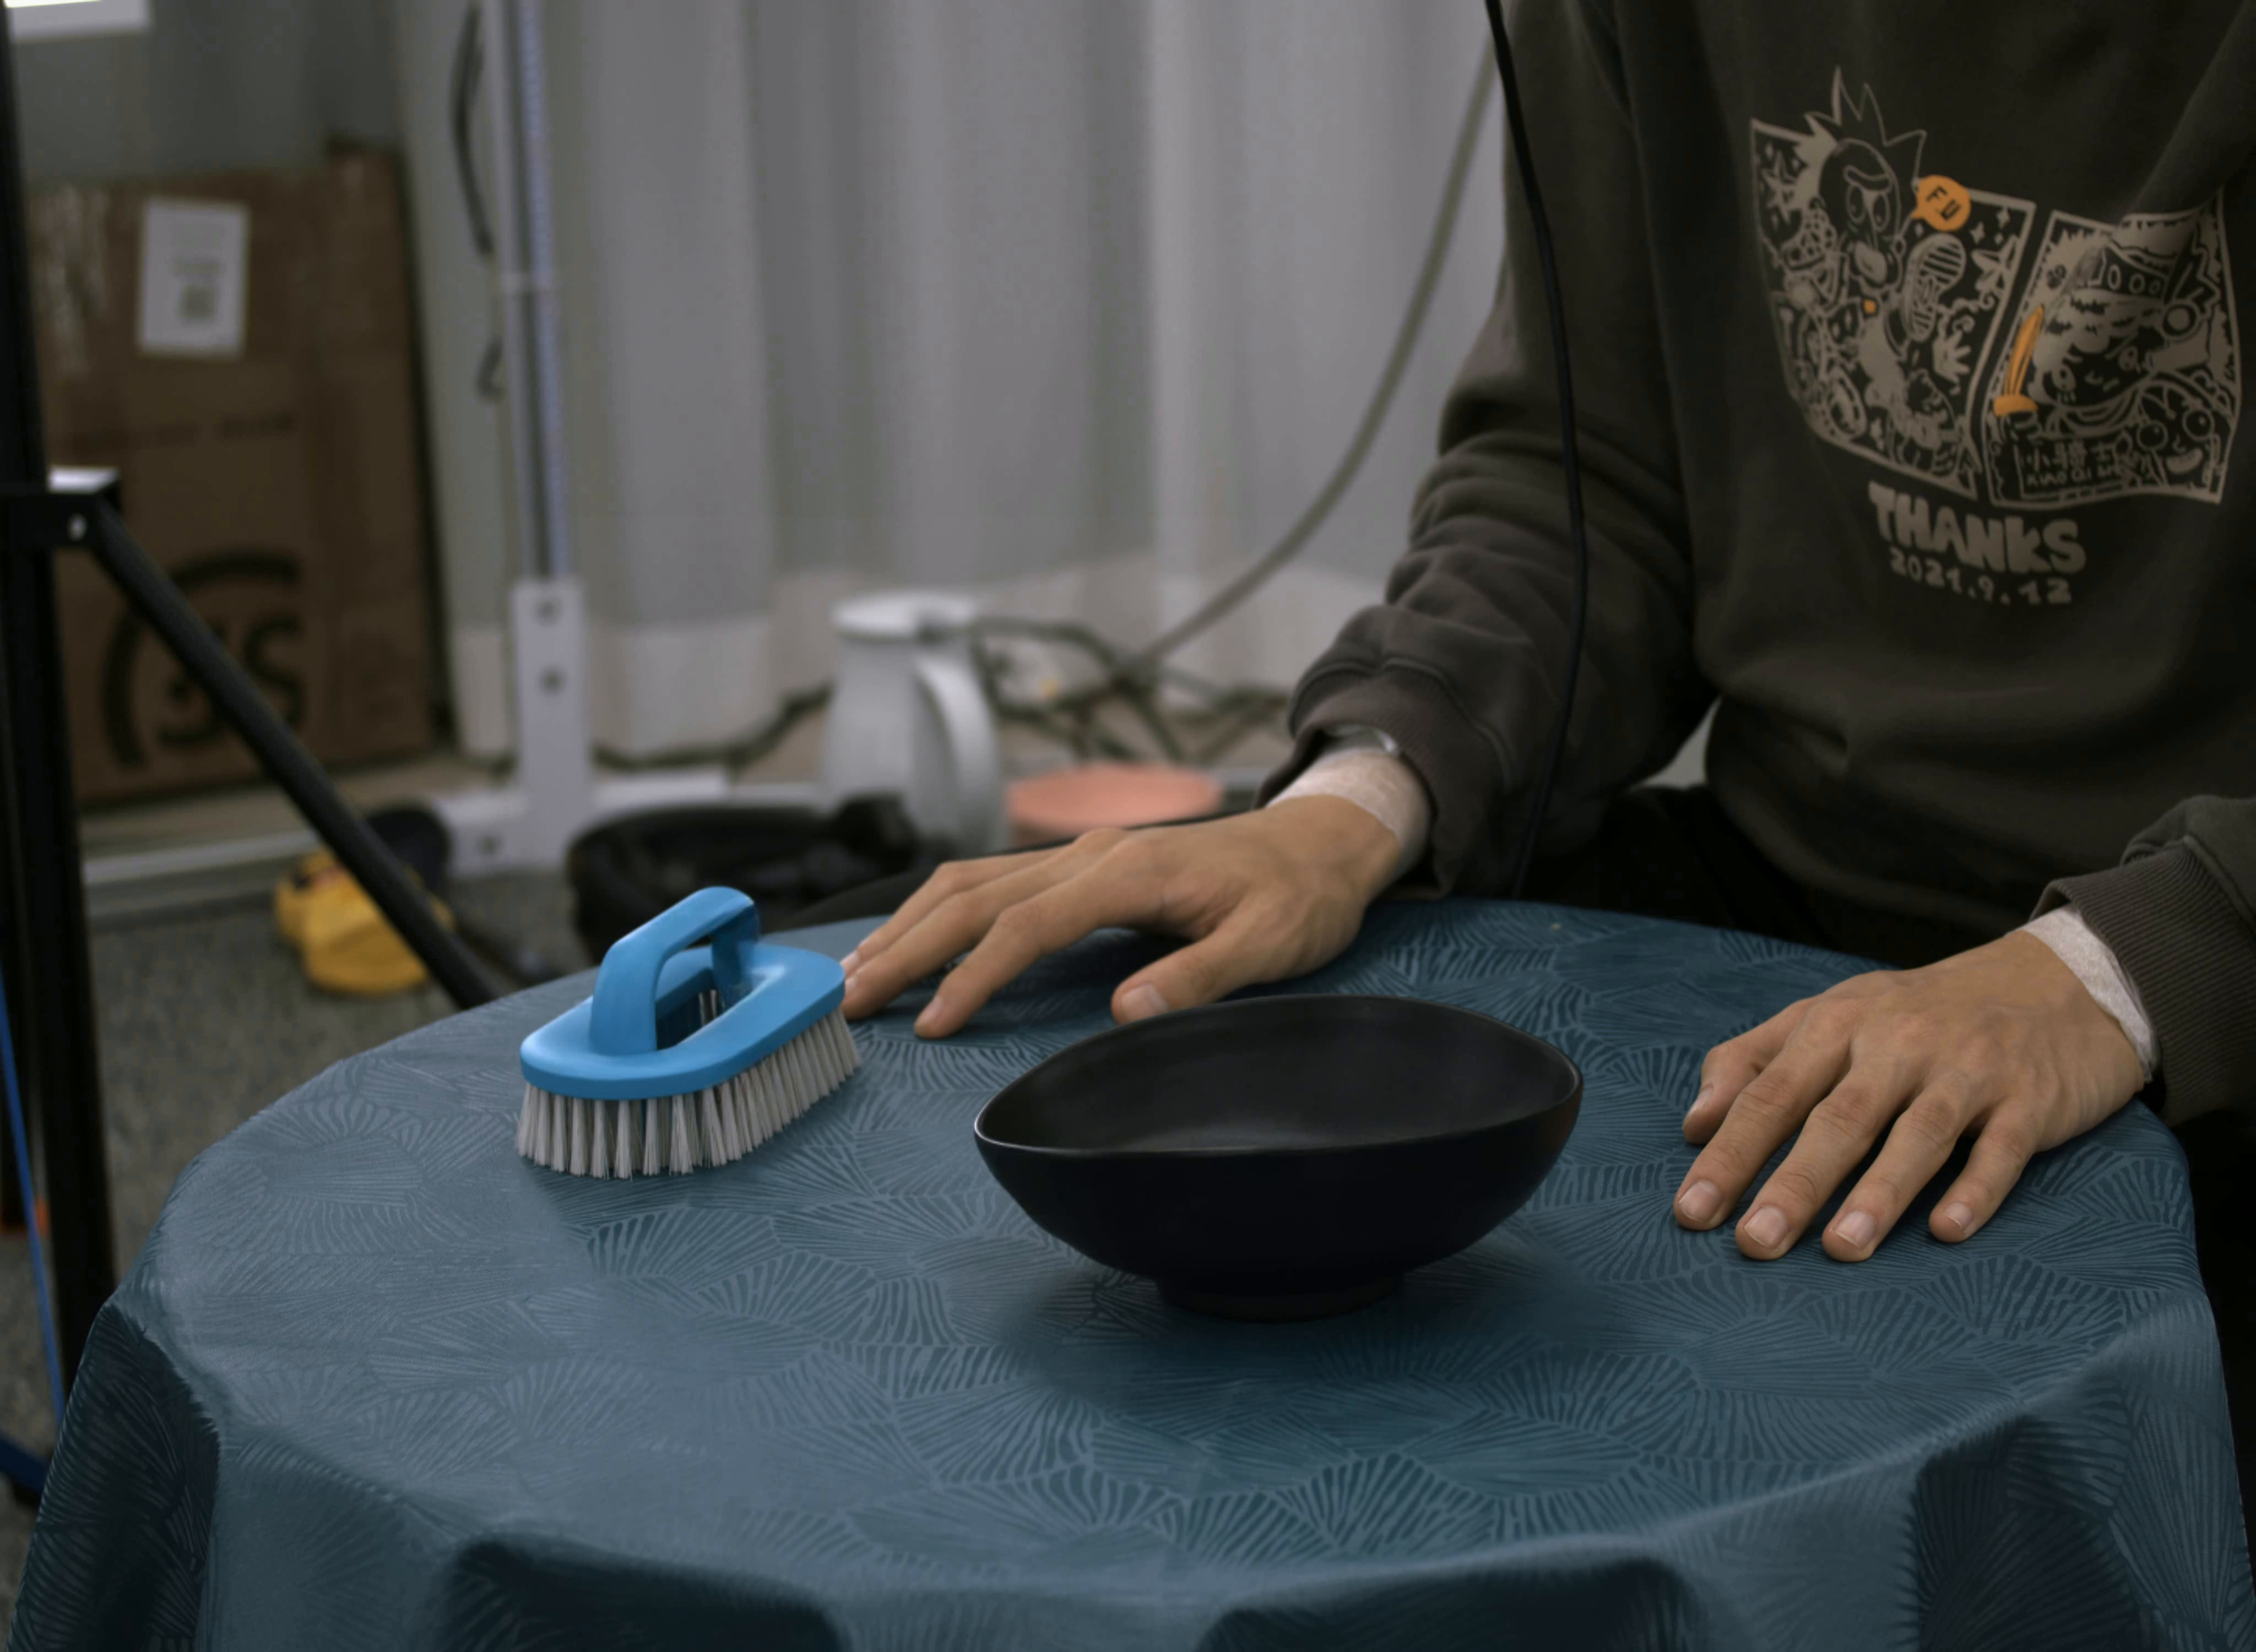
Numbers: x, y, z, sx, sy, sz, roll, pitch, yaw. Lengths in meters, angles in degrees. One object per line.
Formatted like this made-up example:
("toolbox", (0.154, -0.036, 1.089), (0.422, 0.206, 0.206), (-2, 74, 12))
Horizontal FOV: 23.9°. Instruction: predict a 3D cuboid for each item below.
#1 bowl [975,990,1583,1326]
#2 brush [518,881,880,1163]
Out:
("bowl", (0.043, 0.098, 1.476), (0.170, 0.066, 0.138), (-4, 15, 3))
("brush", (-0.135, 0.055, 1.652), (0.085, 0.064, 0.139), (0, 14, 26))
